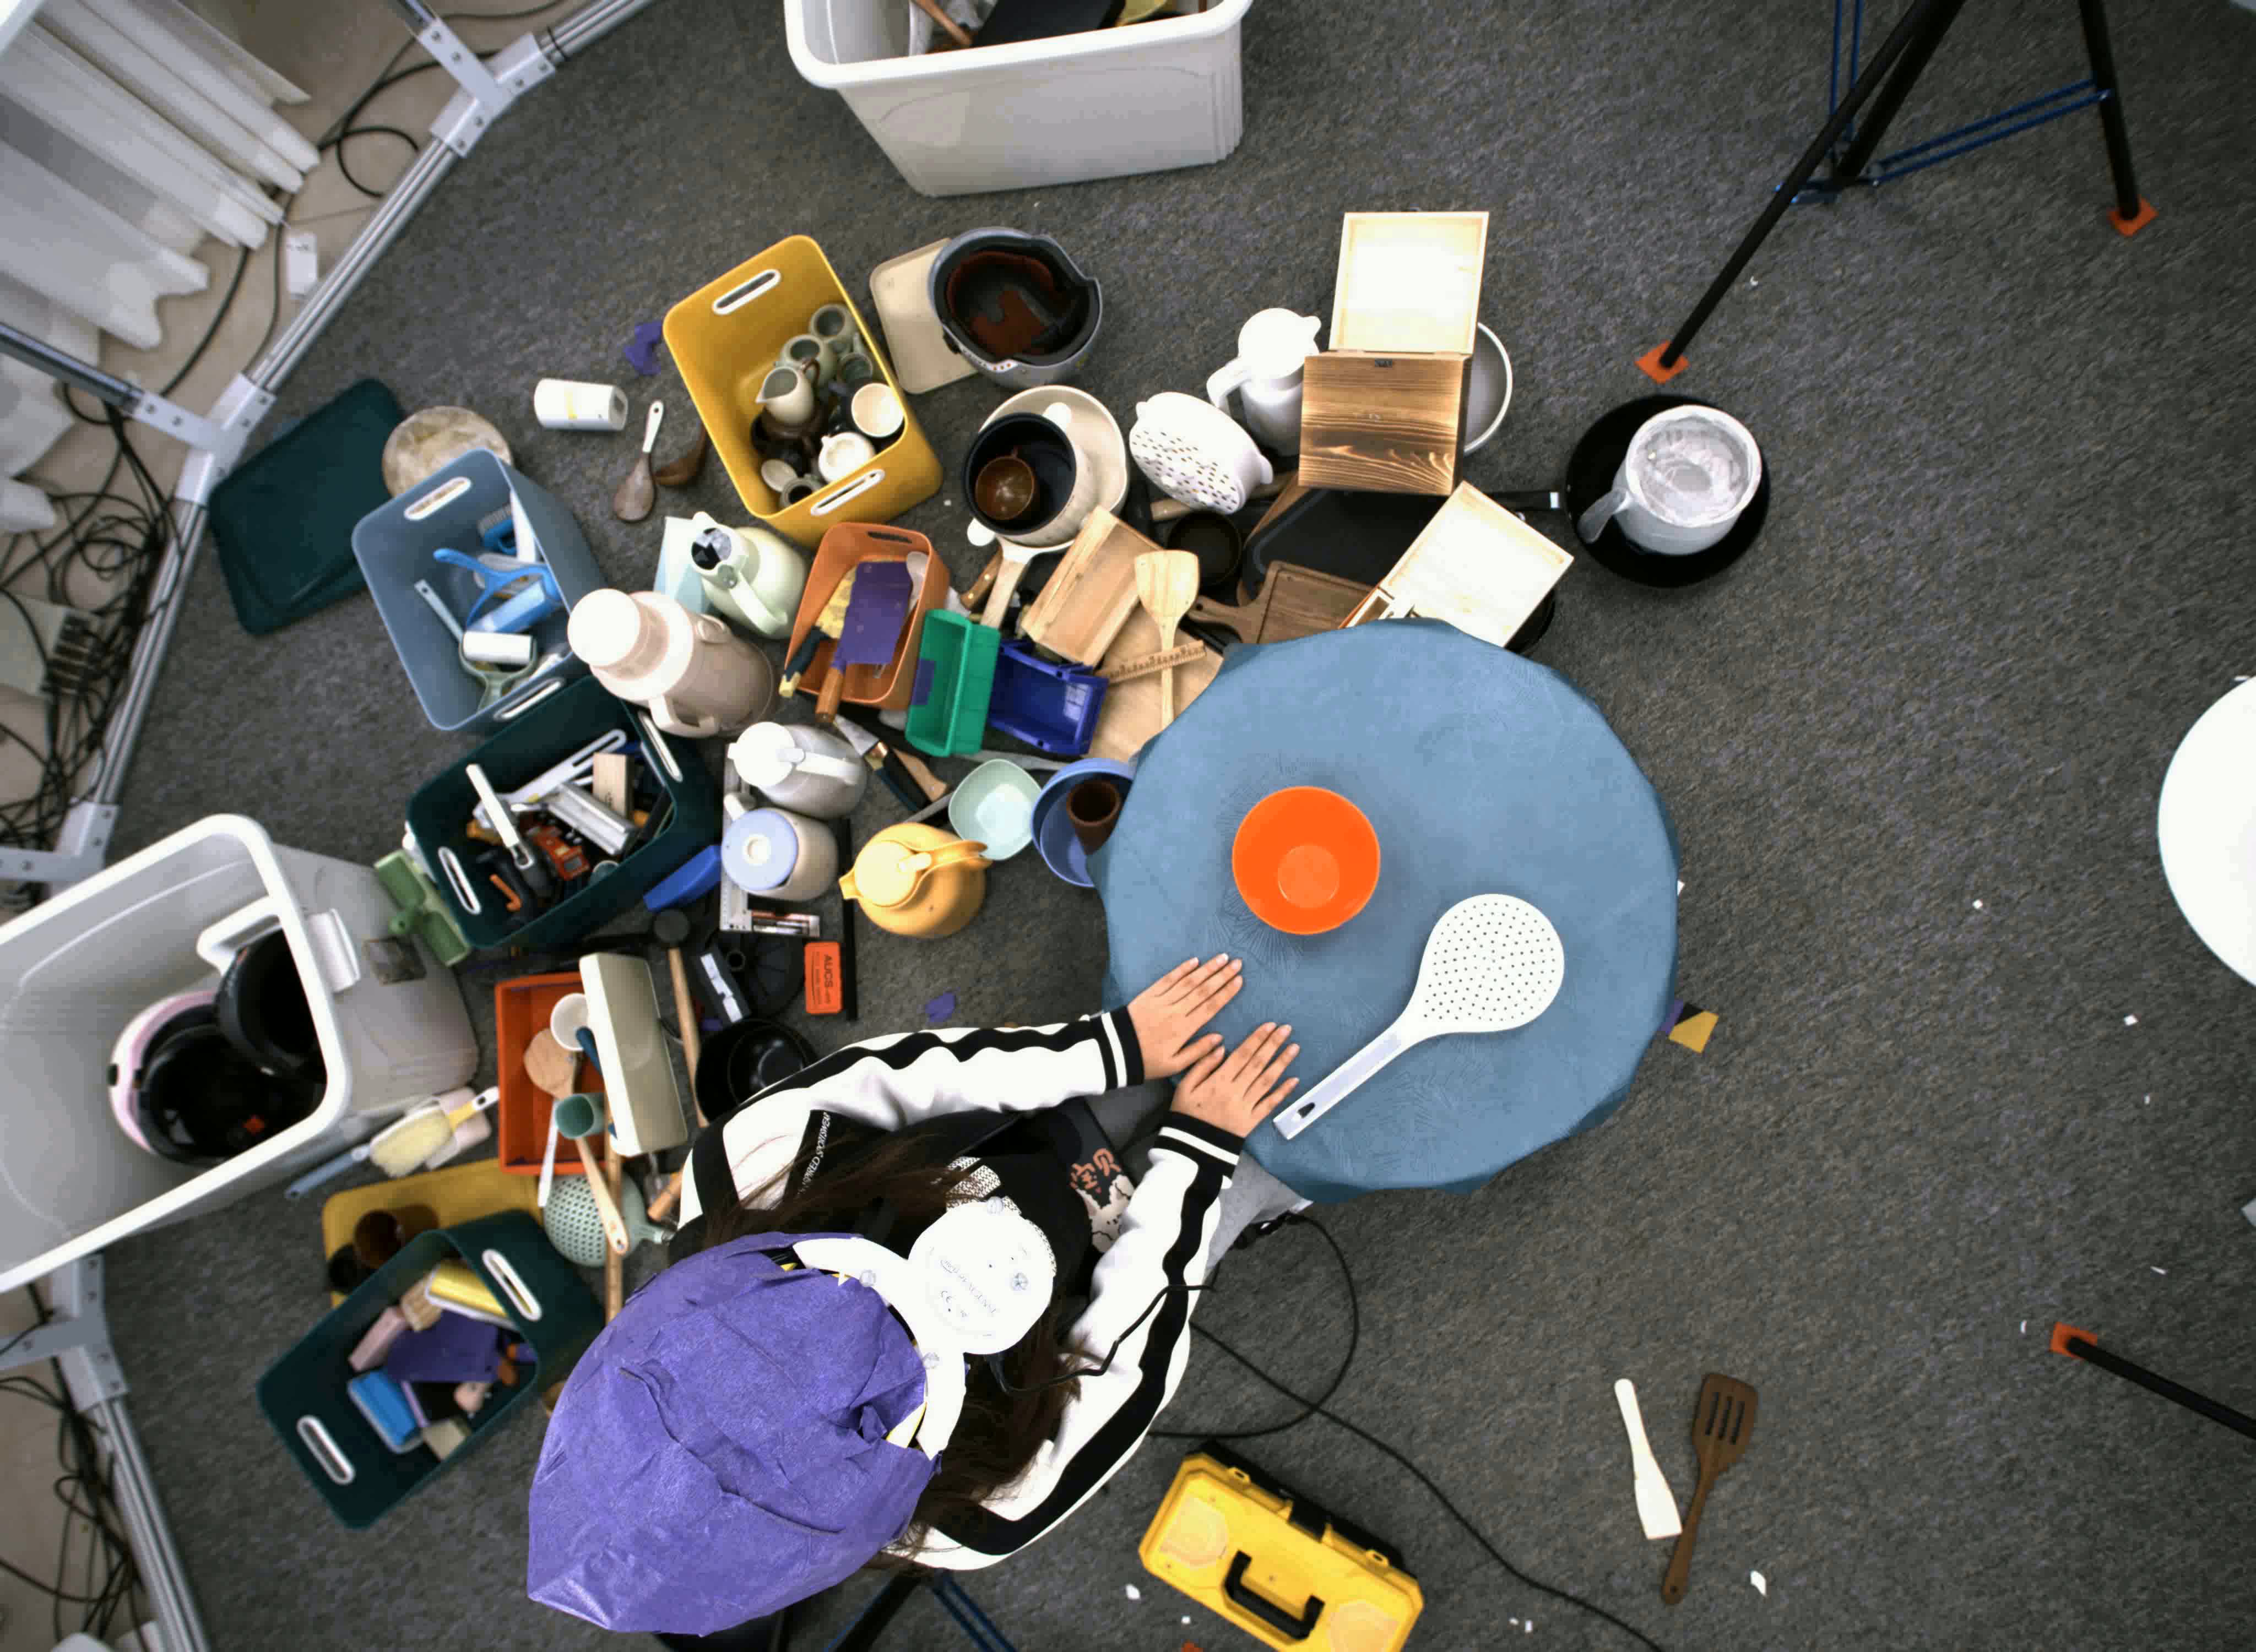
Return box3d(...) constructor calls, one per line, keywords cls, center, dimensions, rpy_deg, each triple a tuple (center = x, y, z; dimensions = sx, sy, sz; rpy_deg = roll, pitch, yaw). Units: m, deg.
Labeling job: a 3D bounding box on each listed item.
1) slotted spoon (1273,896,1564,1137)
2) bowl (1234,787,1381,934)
box3d(cls="slotted spoon", center=(0.292, 0.206, 1.426), dimensions=(0.351, 0.046, 0.135), rpy_deg=(-39, 79, 7))
box3d(cls="bowl", center=(0.185, 0.038, 1.428), dimensions=(0.148, 0.104, 0.147), rpy_deg=(-1, 87, 9))
